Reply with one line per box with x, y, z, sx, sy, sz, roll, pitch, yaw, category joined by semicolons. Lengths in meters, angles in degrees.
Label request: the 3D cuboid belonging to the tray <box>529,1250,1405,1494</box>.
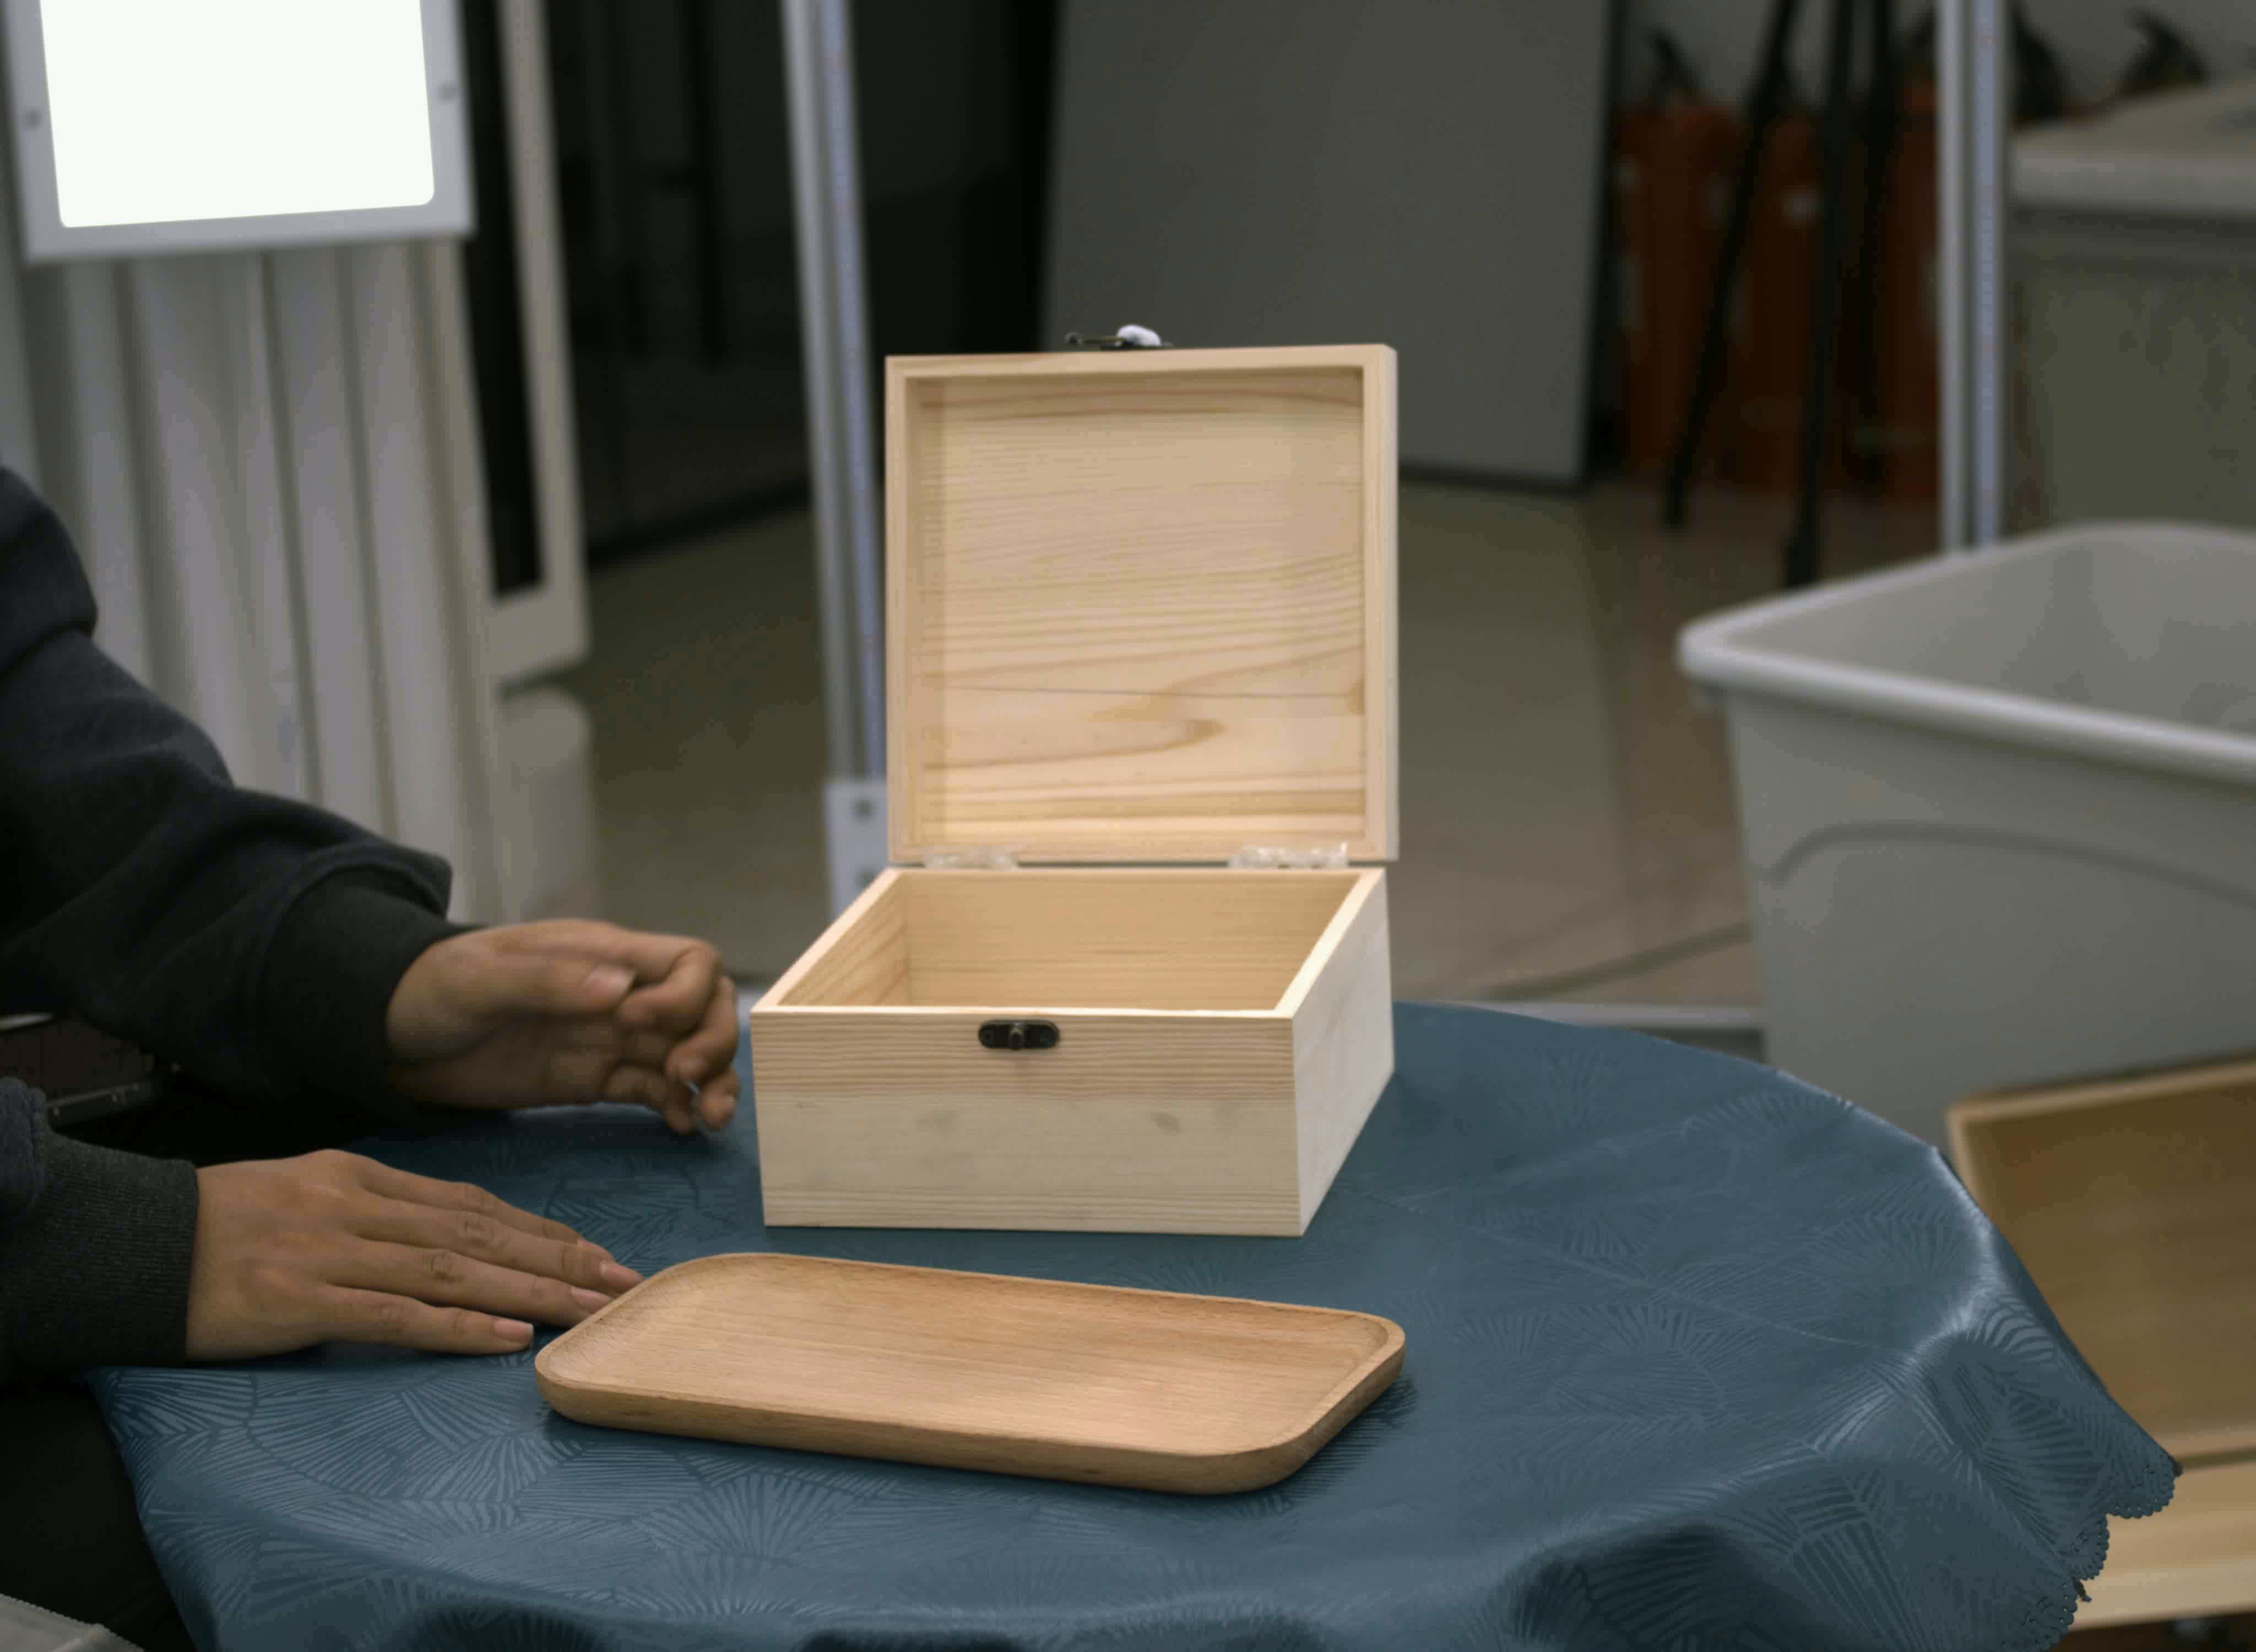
-0.047;0.159;1.588;0.251;0.023;0.129;3;12;27;tray

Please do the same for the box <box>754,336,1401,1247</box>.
-0.014;-0.018;1.823;0.181;0.256;0.263;-3;12;13;box
